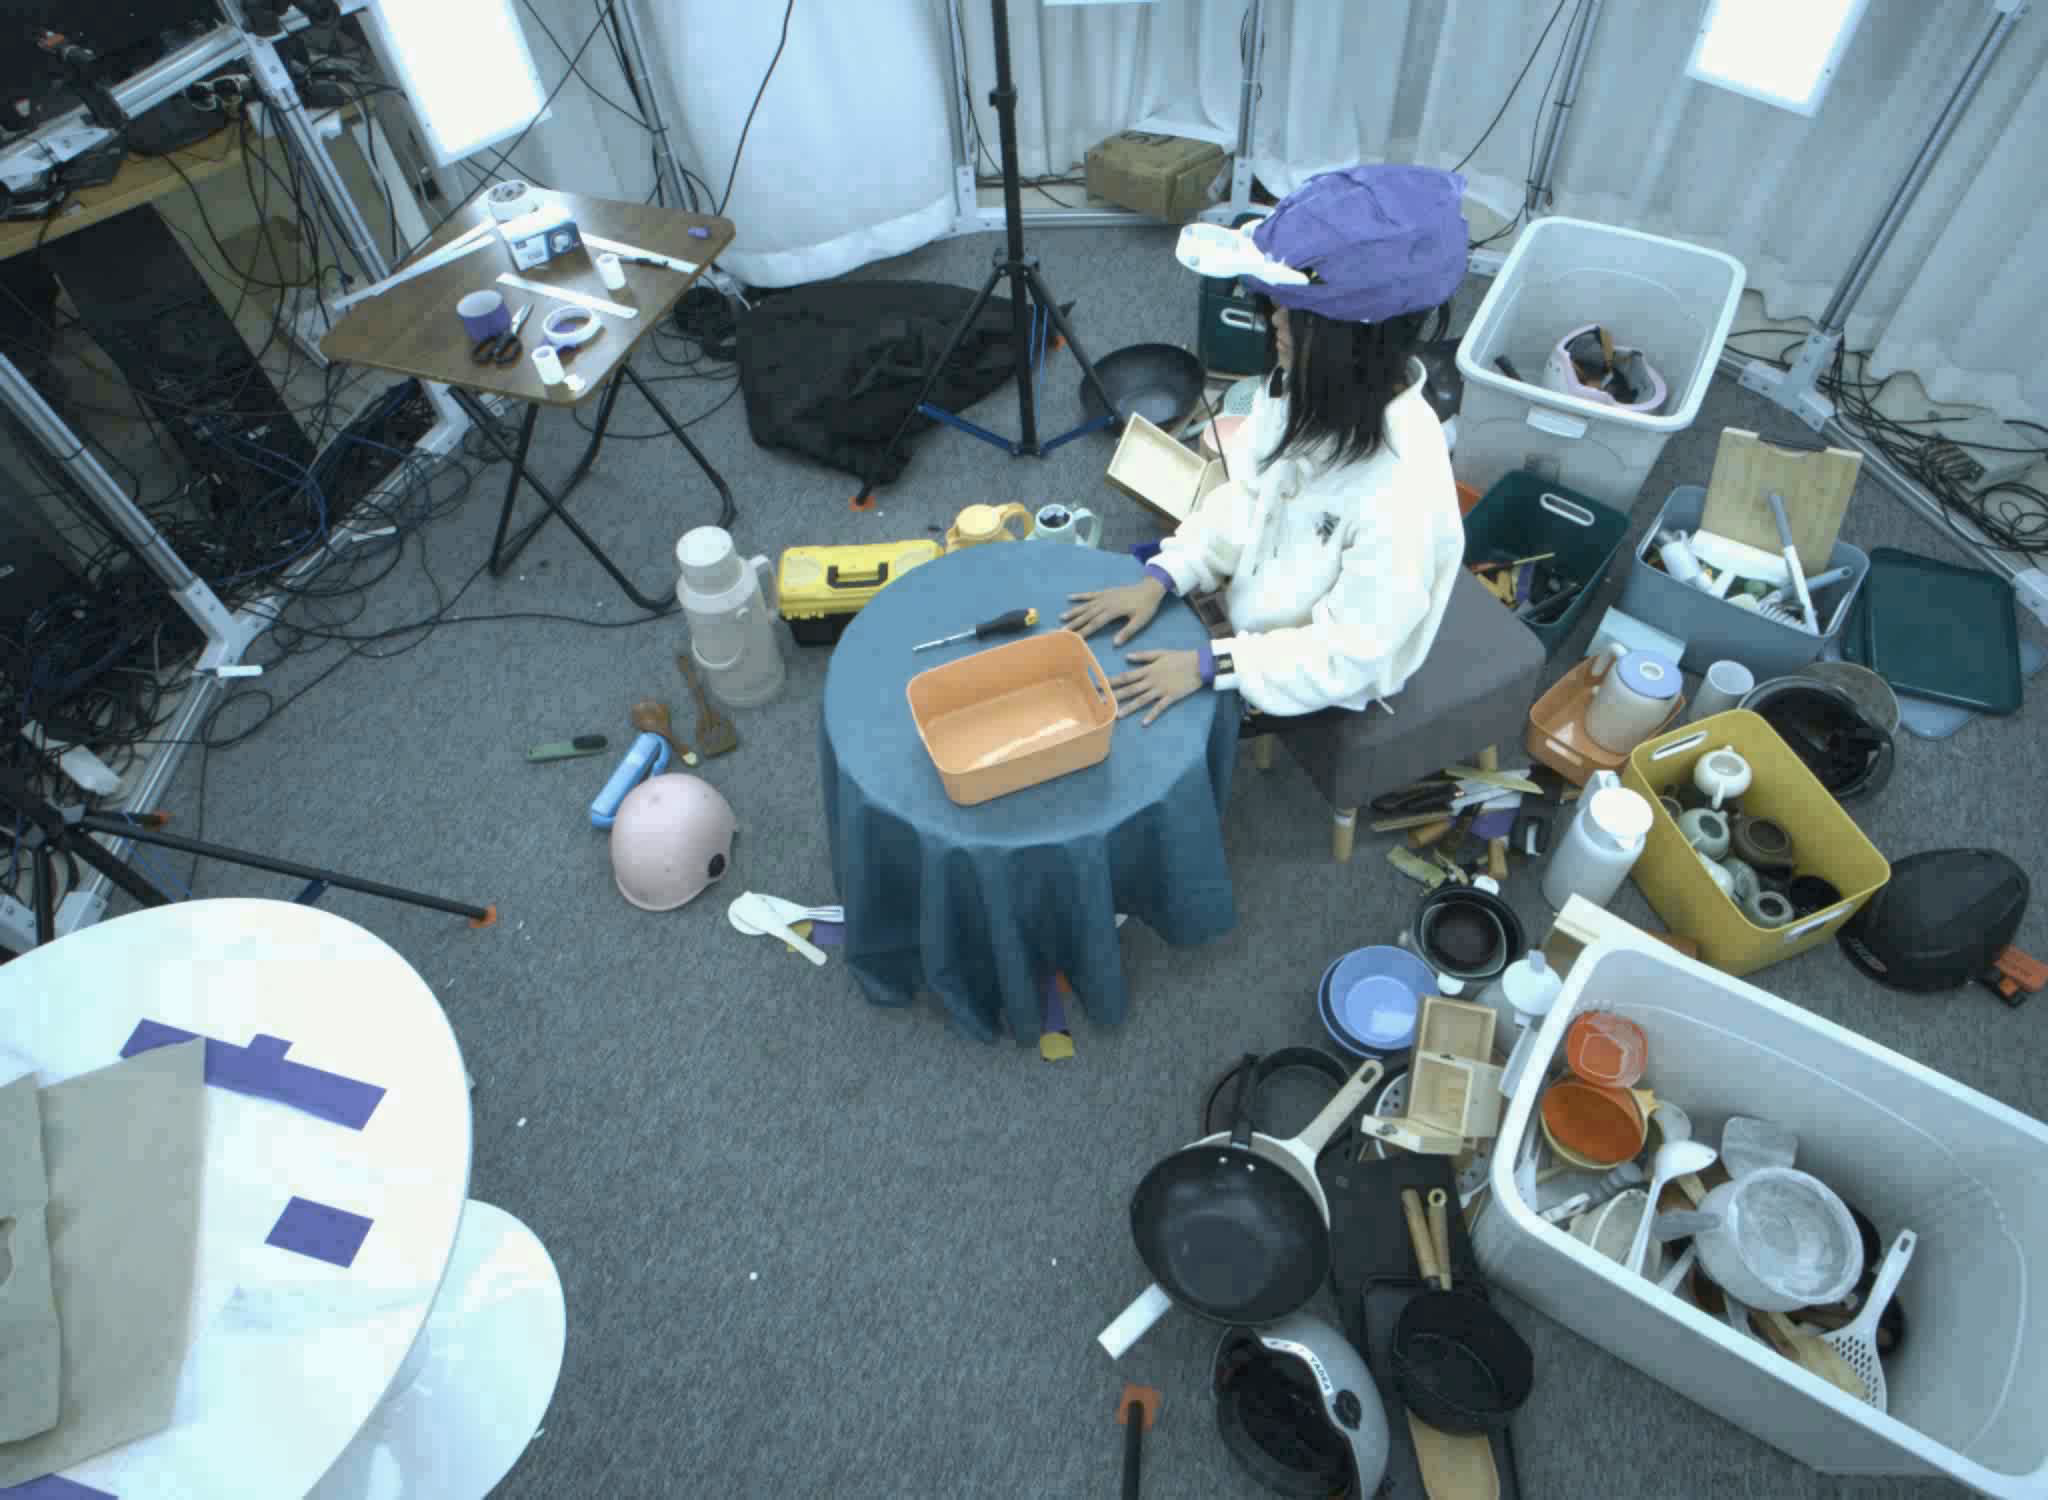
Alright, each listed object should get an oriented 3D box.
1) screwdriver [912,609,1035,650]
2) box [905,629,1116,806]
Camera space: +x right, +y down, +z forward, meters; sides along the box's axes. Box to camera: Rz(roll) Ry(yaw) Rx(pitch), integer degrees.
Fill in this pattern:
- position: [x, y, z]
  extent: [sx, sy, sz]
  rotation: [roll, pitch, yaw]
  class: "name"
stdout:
- position: [-0.080, -0.185, 1.911]
  extent: [0.196, 0.032, 0.031]
  rotation: [-15, 56, -3]
  class: "screwdriver"
- position: [-0.016, -0.042, 1.754]
  extent: [0.275, 0.104, 0.196]
  rotation: [-19, 56, -11]
  class: "box"
